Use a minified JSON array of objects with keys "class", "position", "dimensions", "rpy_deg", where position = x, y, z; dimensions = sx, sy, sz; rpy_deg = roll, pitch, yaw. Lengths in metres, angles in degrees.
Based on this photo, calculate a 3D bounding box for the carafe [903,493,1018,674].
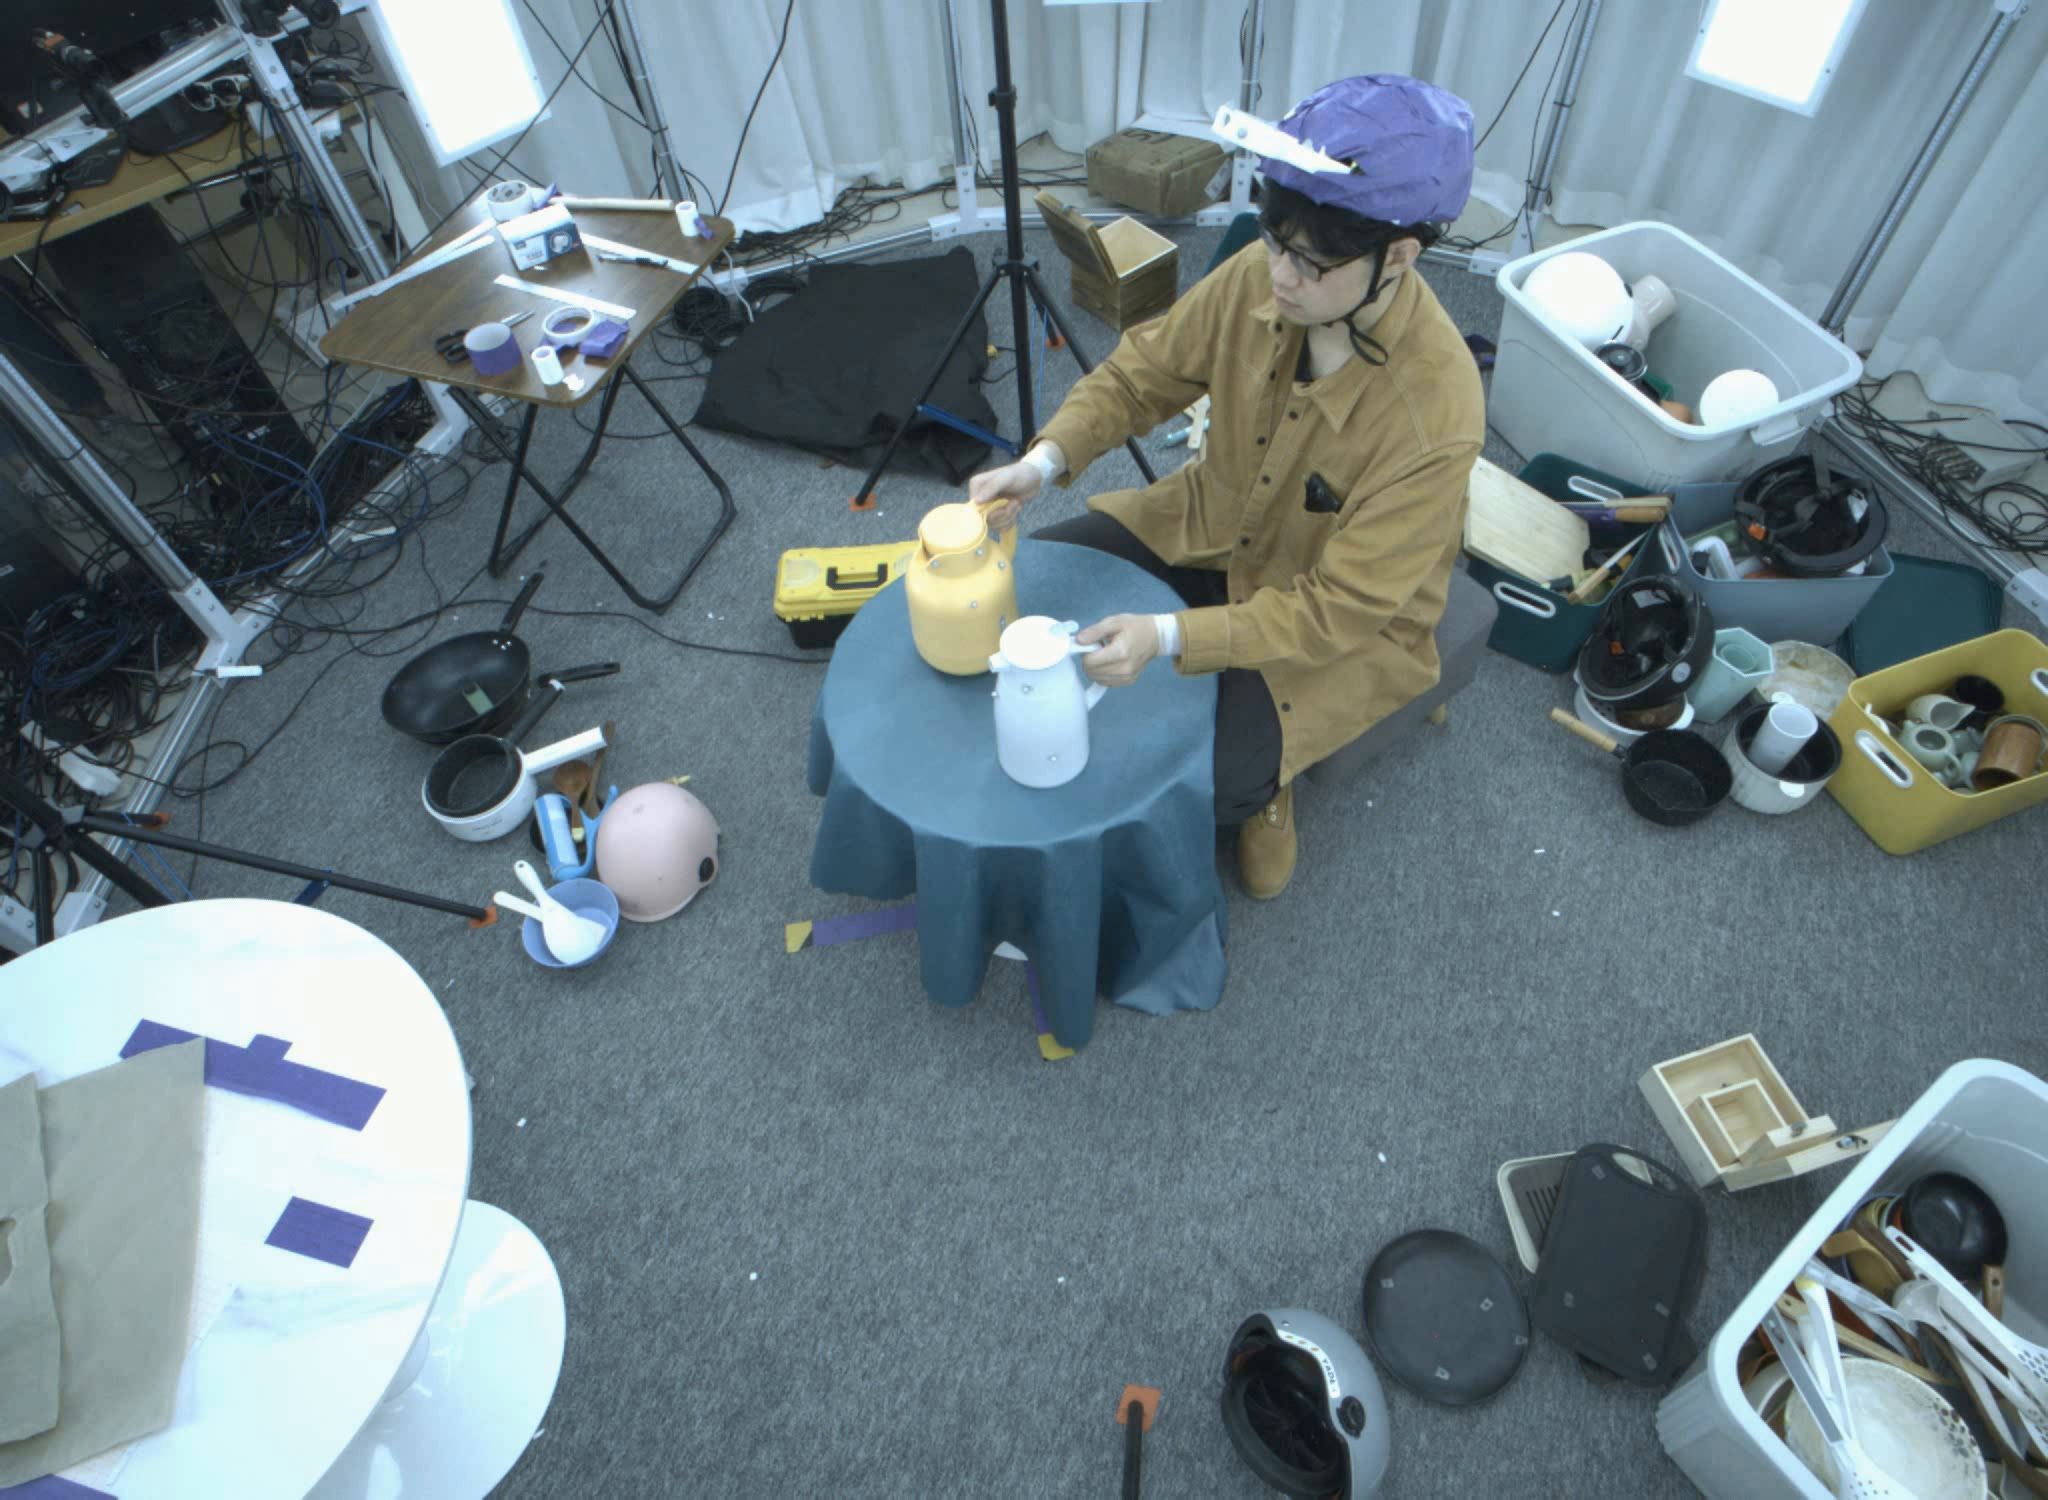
[{"class":"carafe","position":[-0.082,-0.253,1.806],"dimensions":[0.161,0.263,0.203],"rpy_deg":[34,64,22]}]

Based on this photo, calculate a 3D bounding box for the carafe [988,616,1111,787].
[{"class":"carafe","position":[0.038,-0.078,1.684],"dimensions":[0.169,0.251,0.130],"rpy_deg":[-18,55,-10]}]
